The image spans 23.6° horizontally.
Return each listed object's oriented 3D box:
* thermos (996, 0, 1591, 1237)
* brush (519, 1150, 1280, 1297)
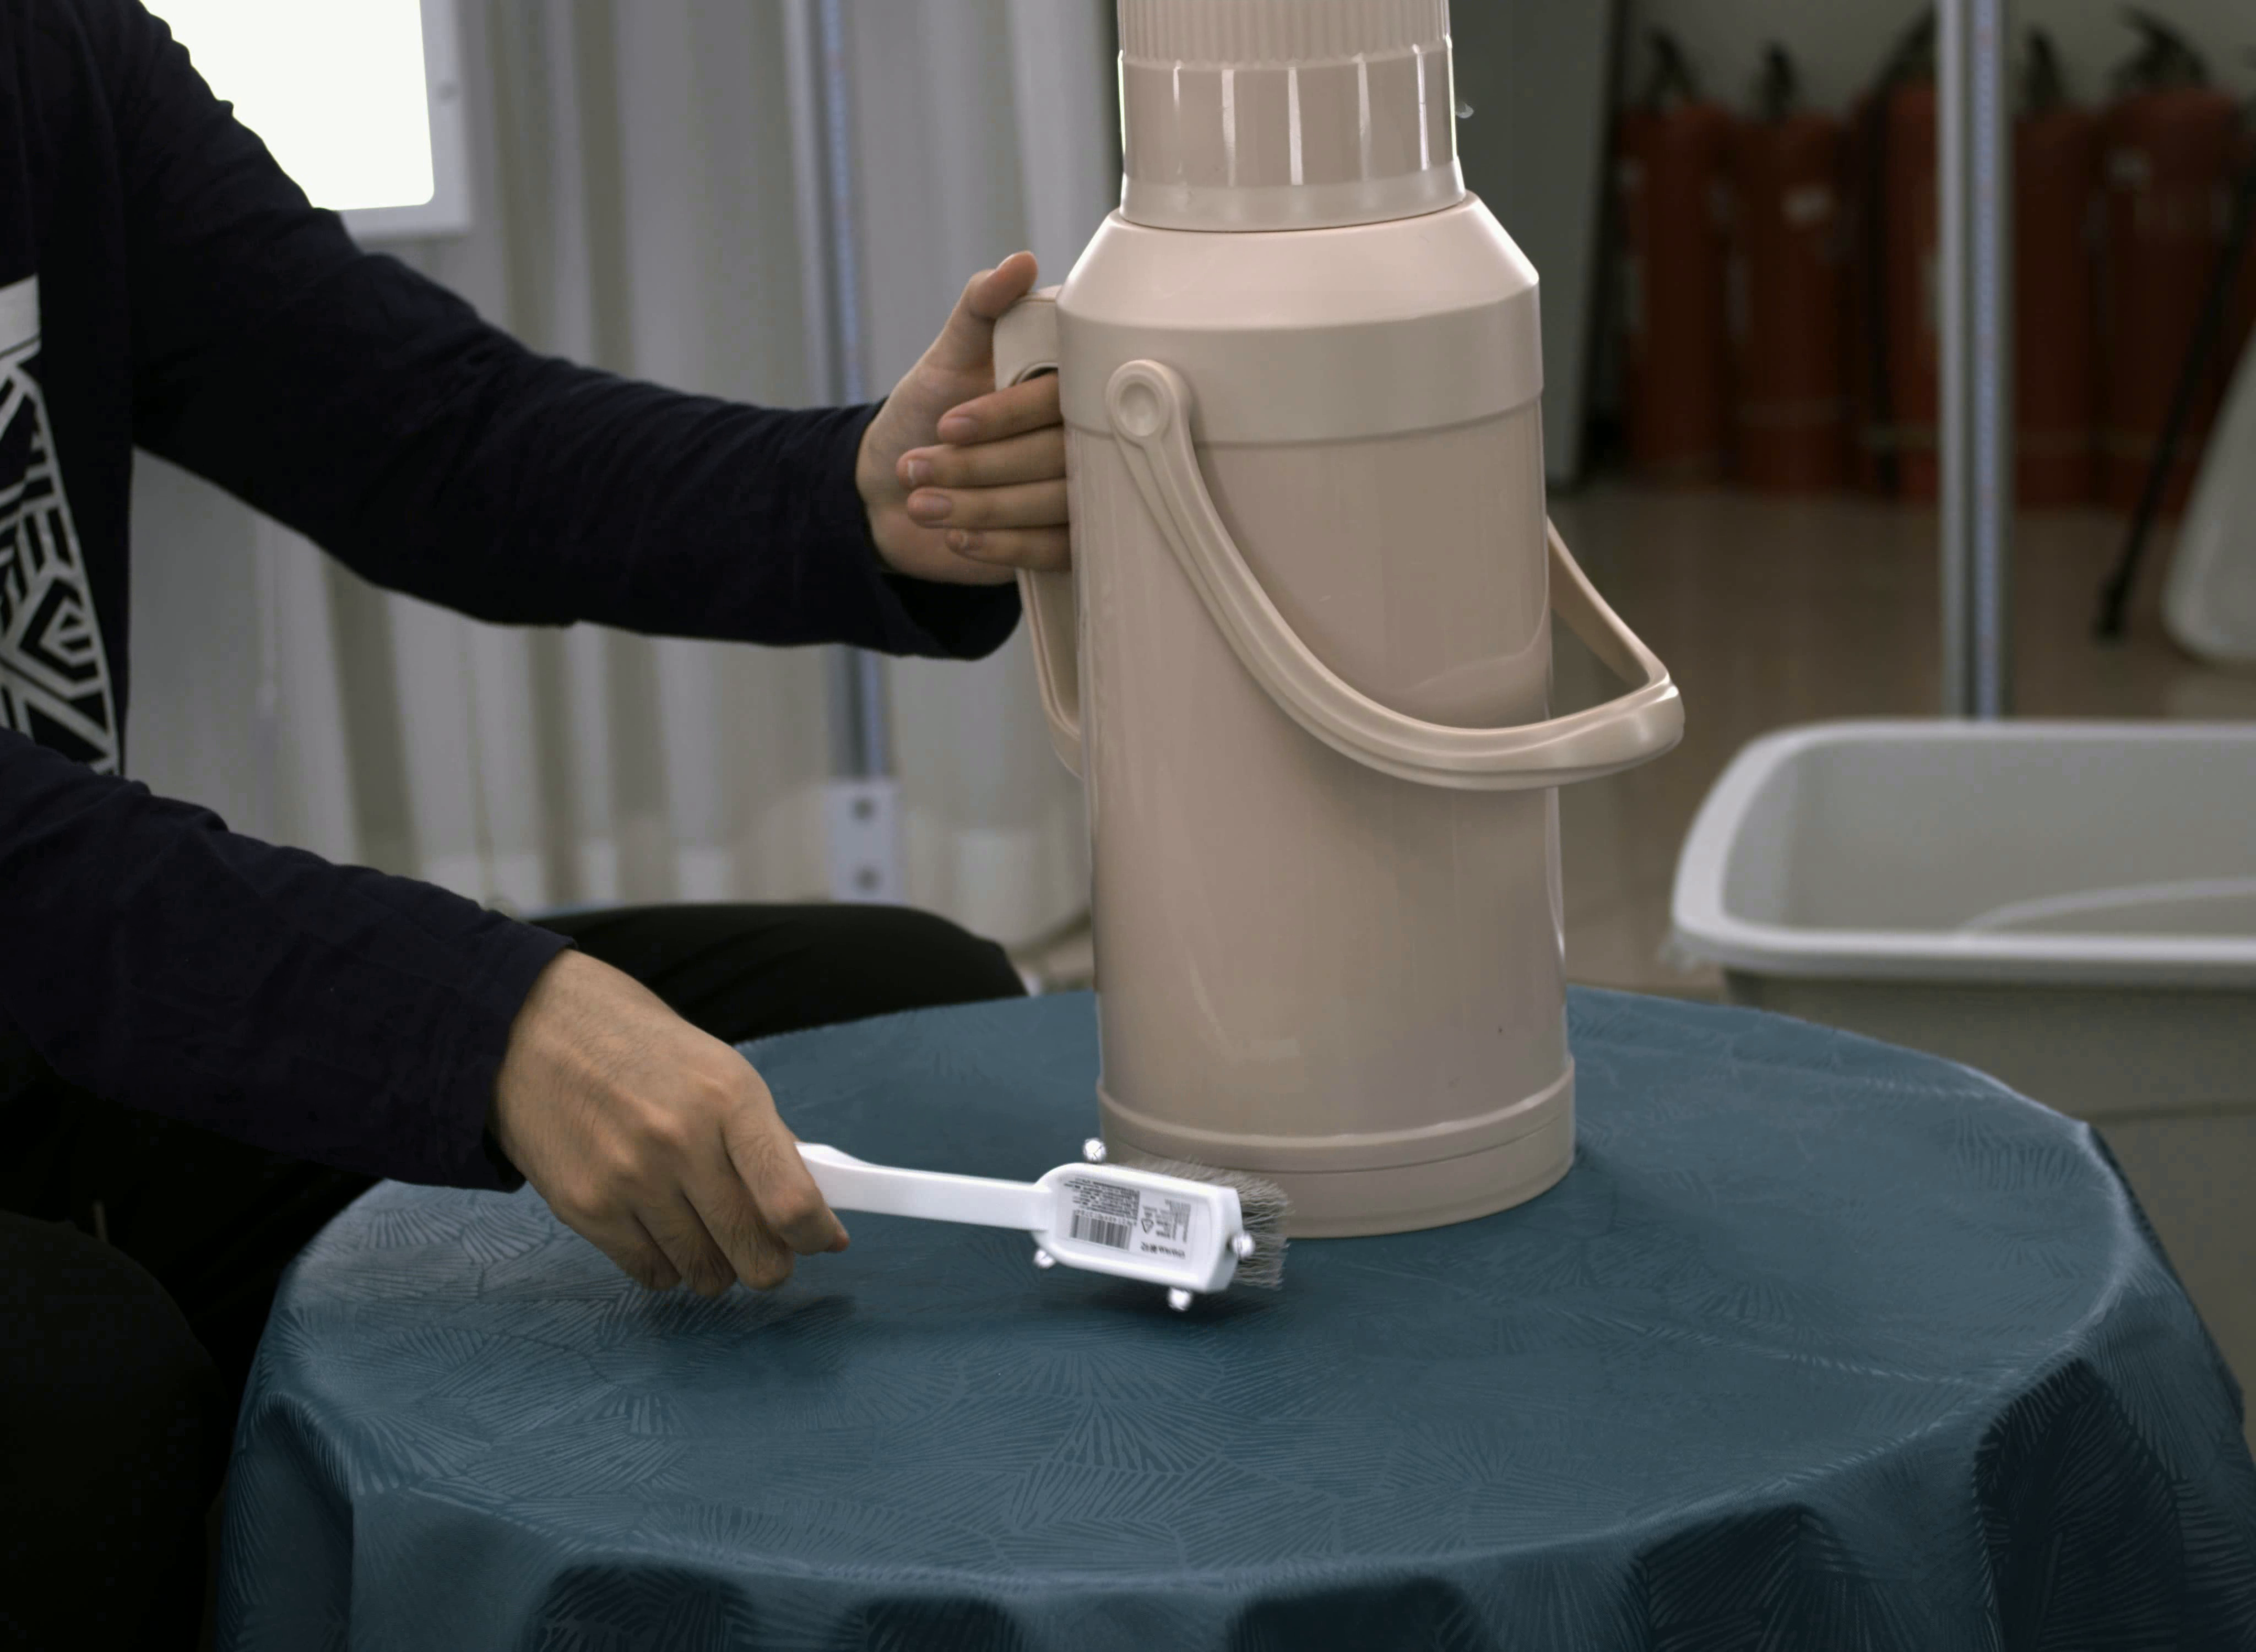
[{"bbox_3d":[0.050,-0.083,1.753,0.208,0.410,0.172,6,18,36],"label":"thermos"},{"bbox_3d":[-0.070,0.119,1.679,0.243,0.035,0.050,1,14,18],"label":"brush"}]
